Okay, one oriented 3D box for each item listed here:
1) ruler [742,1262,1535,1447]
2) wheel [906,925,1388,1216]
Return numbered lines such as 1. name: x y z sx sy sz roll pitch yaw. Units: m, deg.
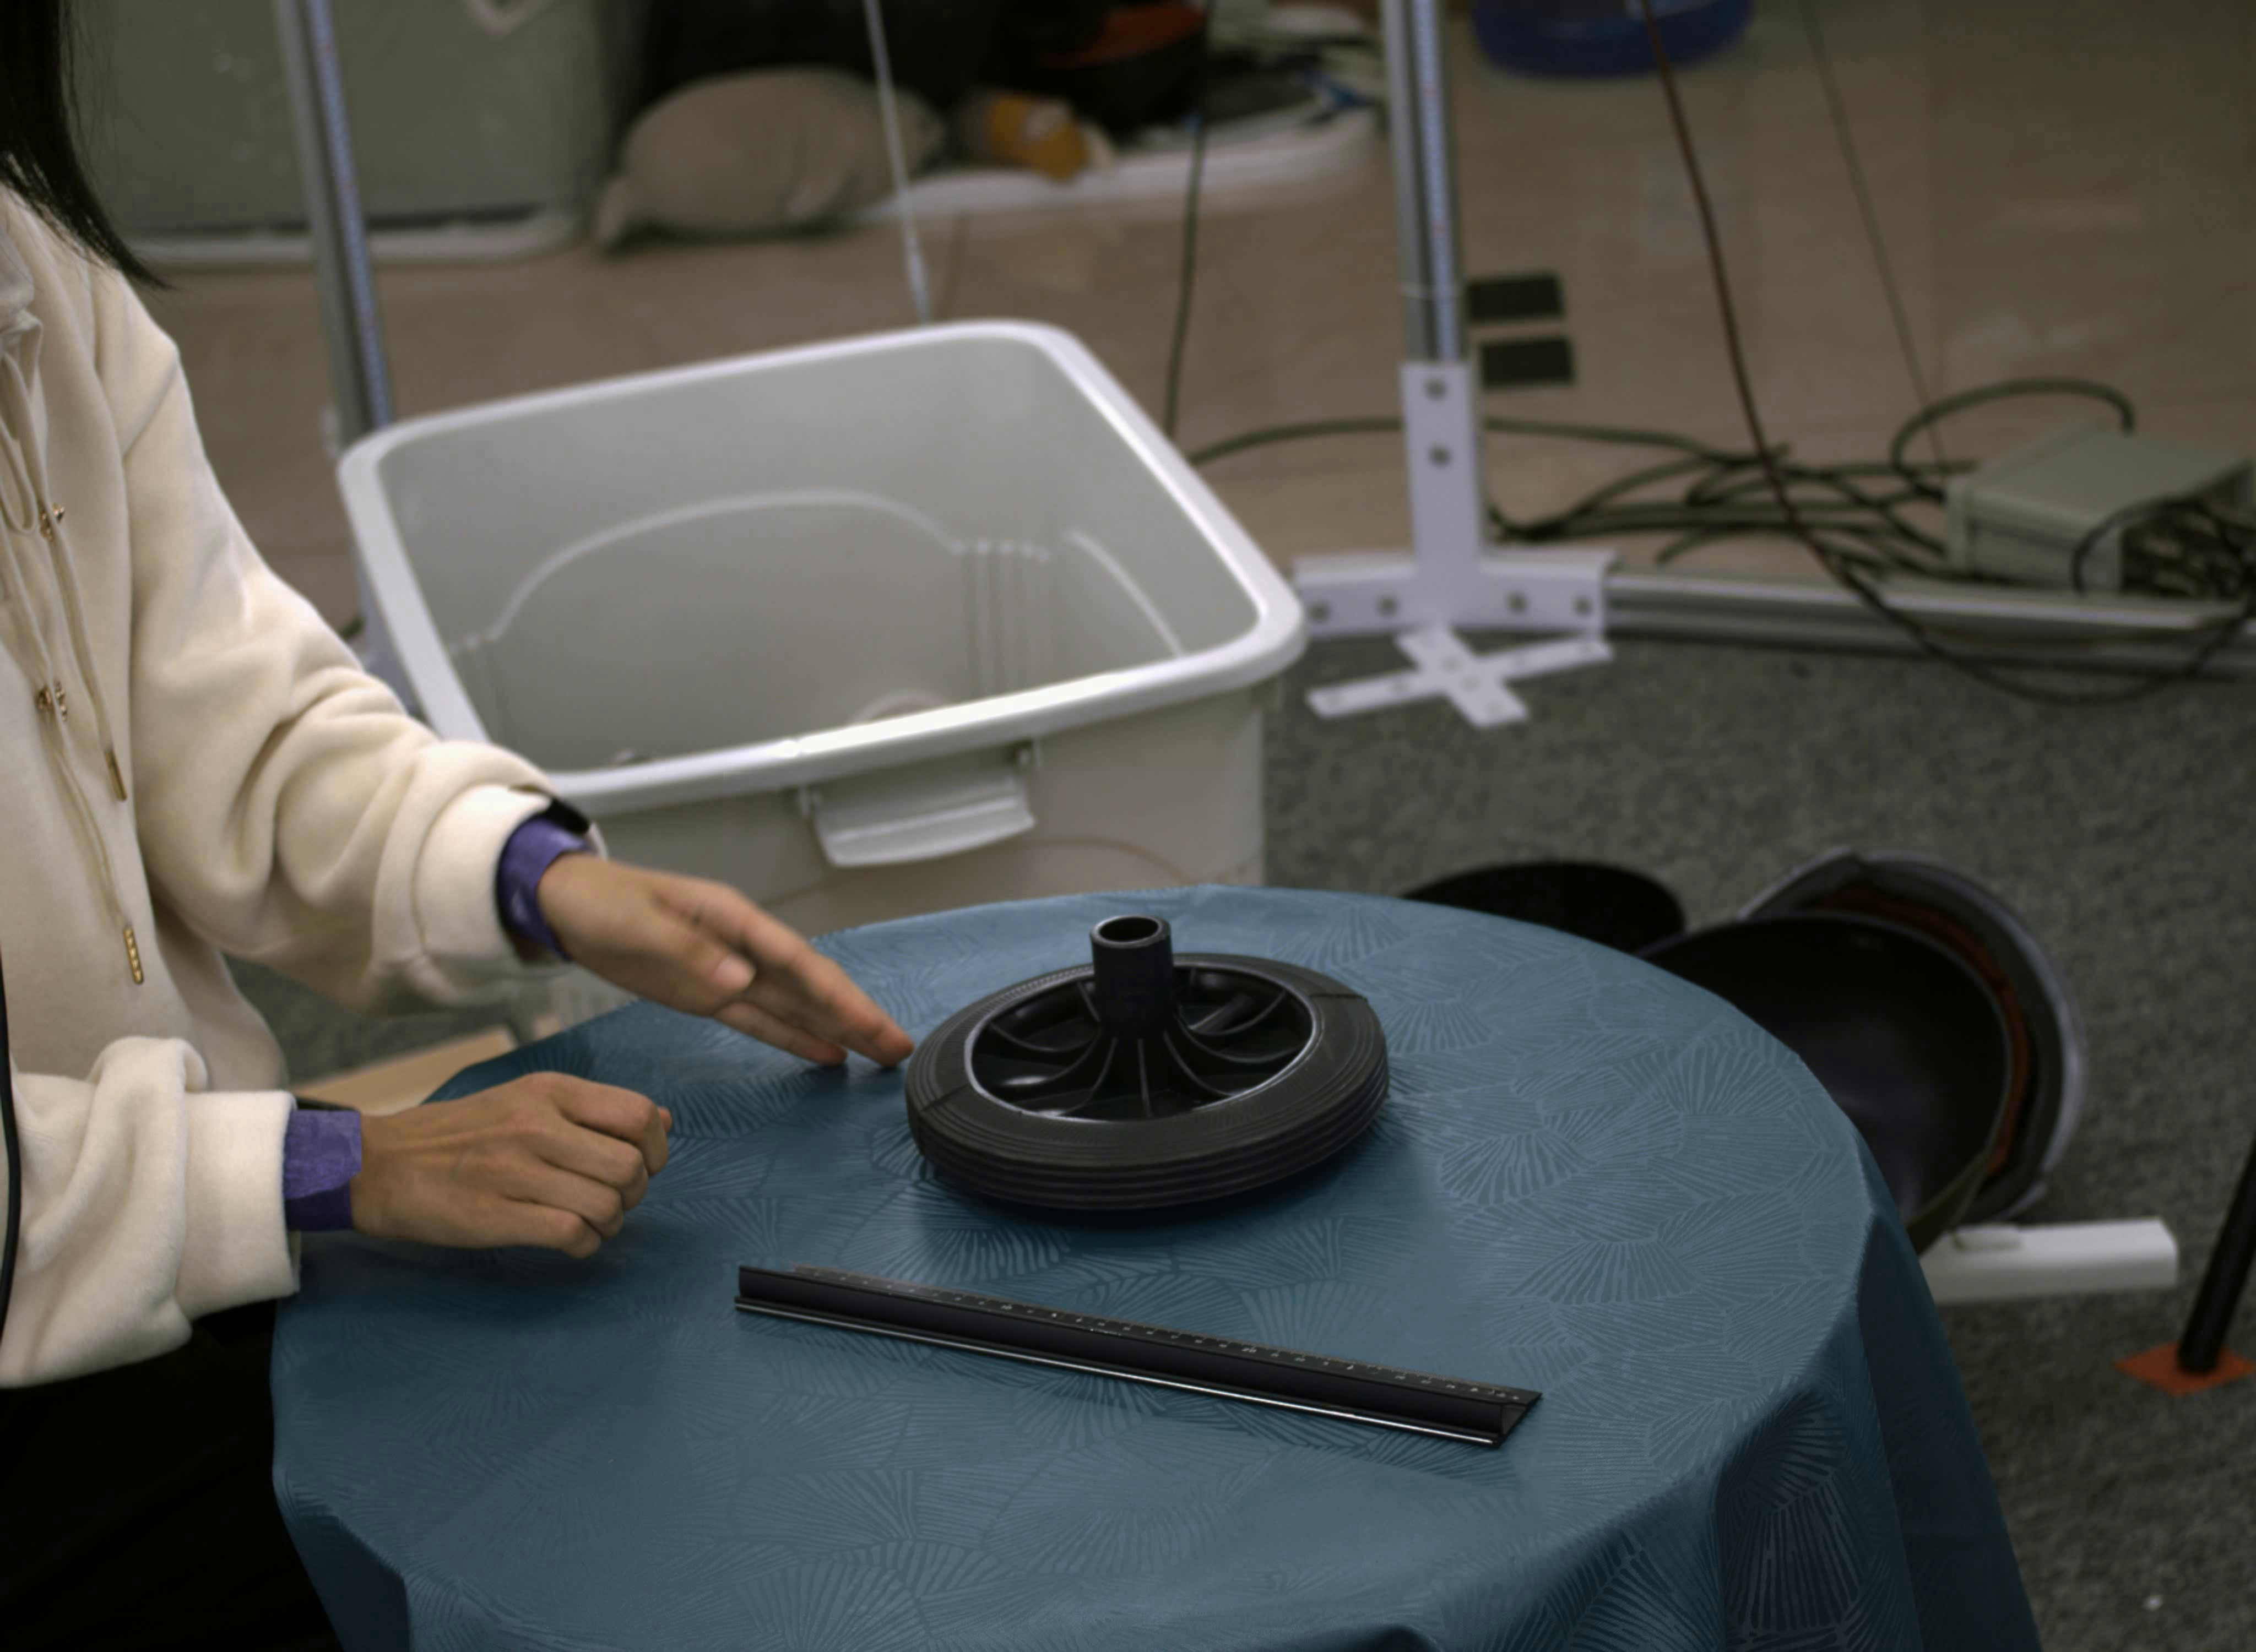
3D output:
1. ruler: 0.000 0.182 2.037 0.311 0.017 0.039 8 25 29
2. wheel: 0.005 0.080 2.182 0.187 0.080 0.187 1 24 17
